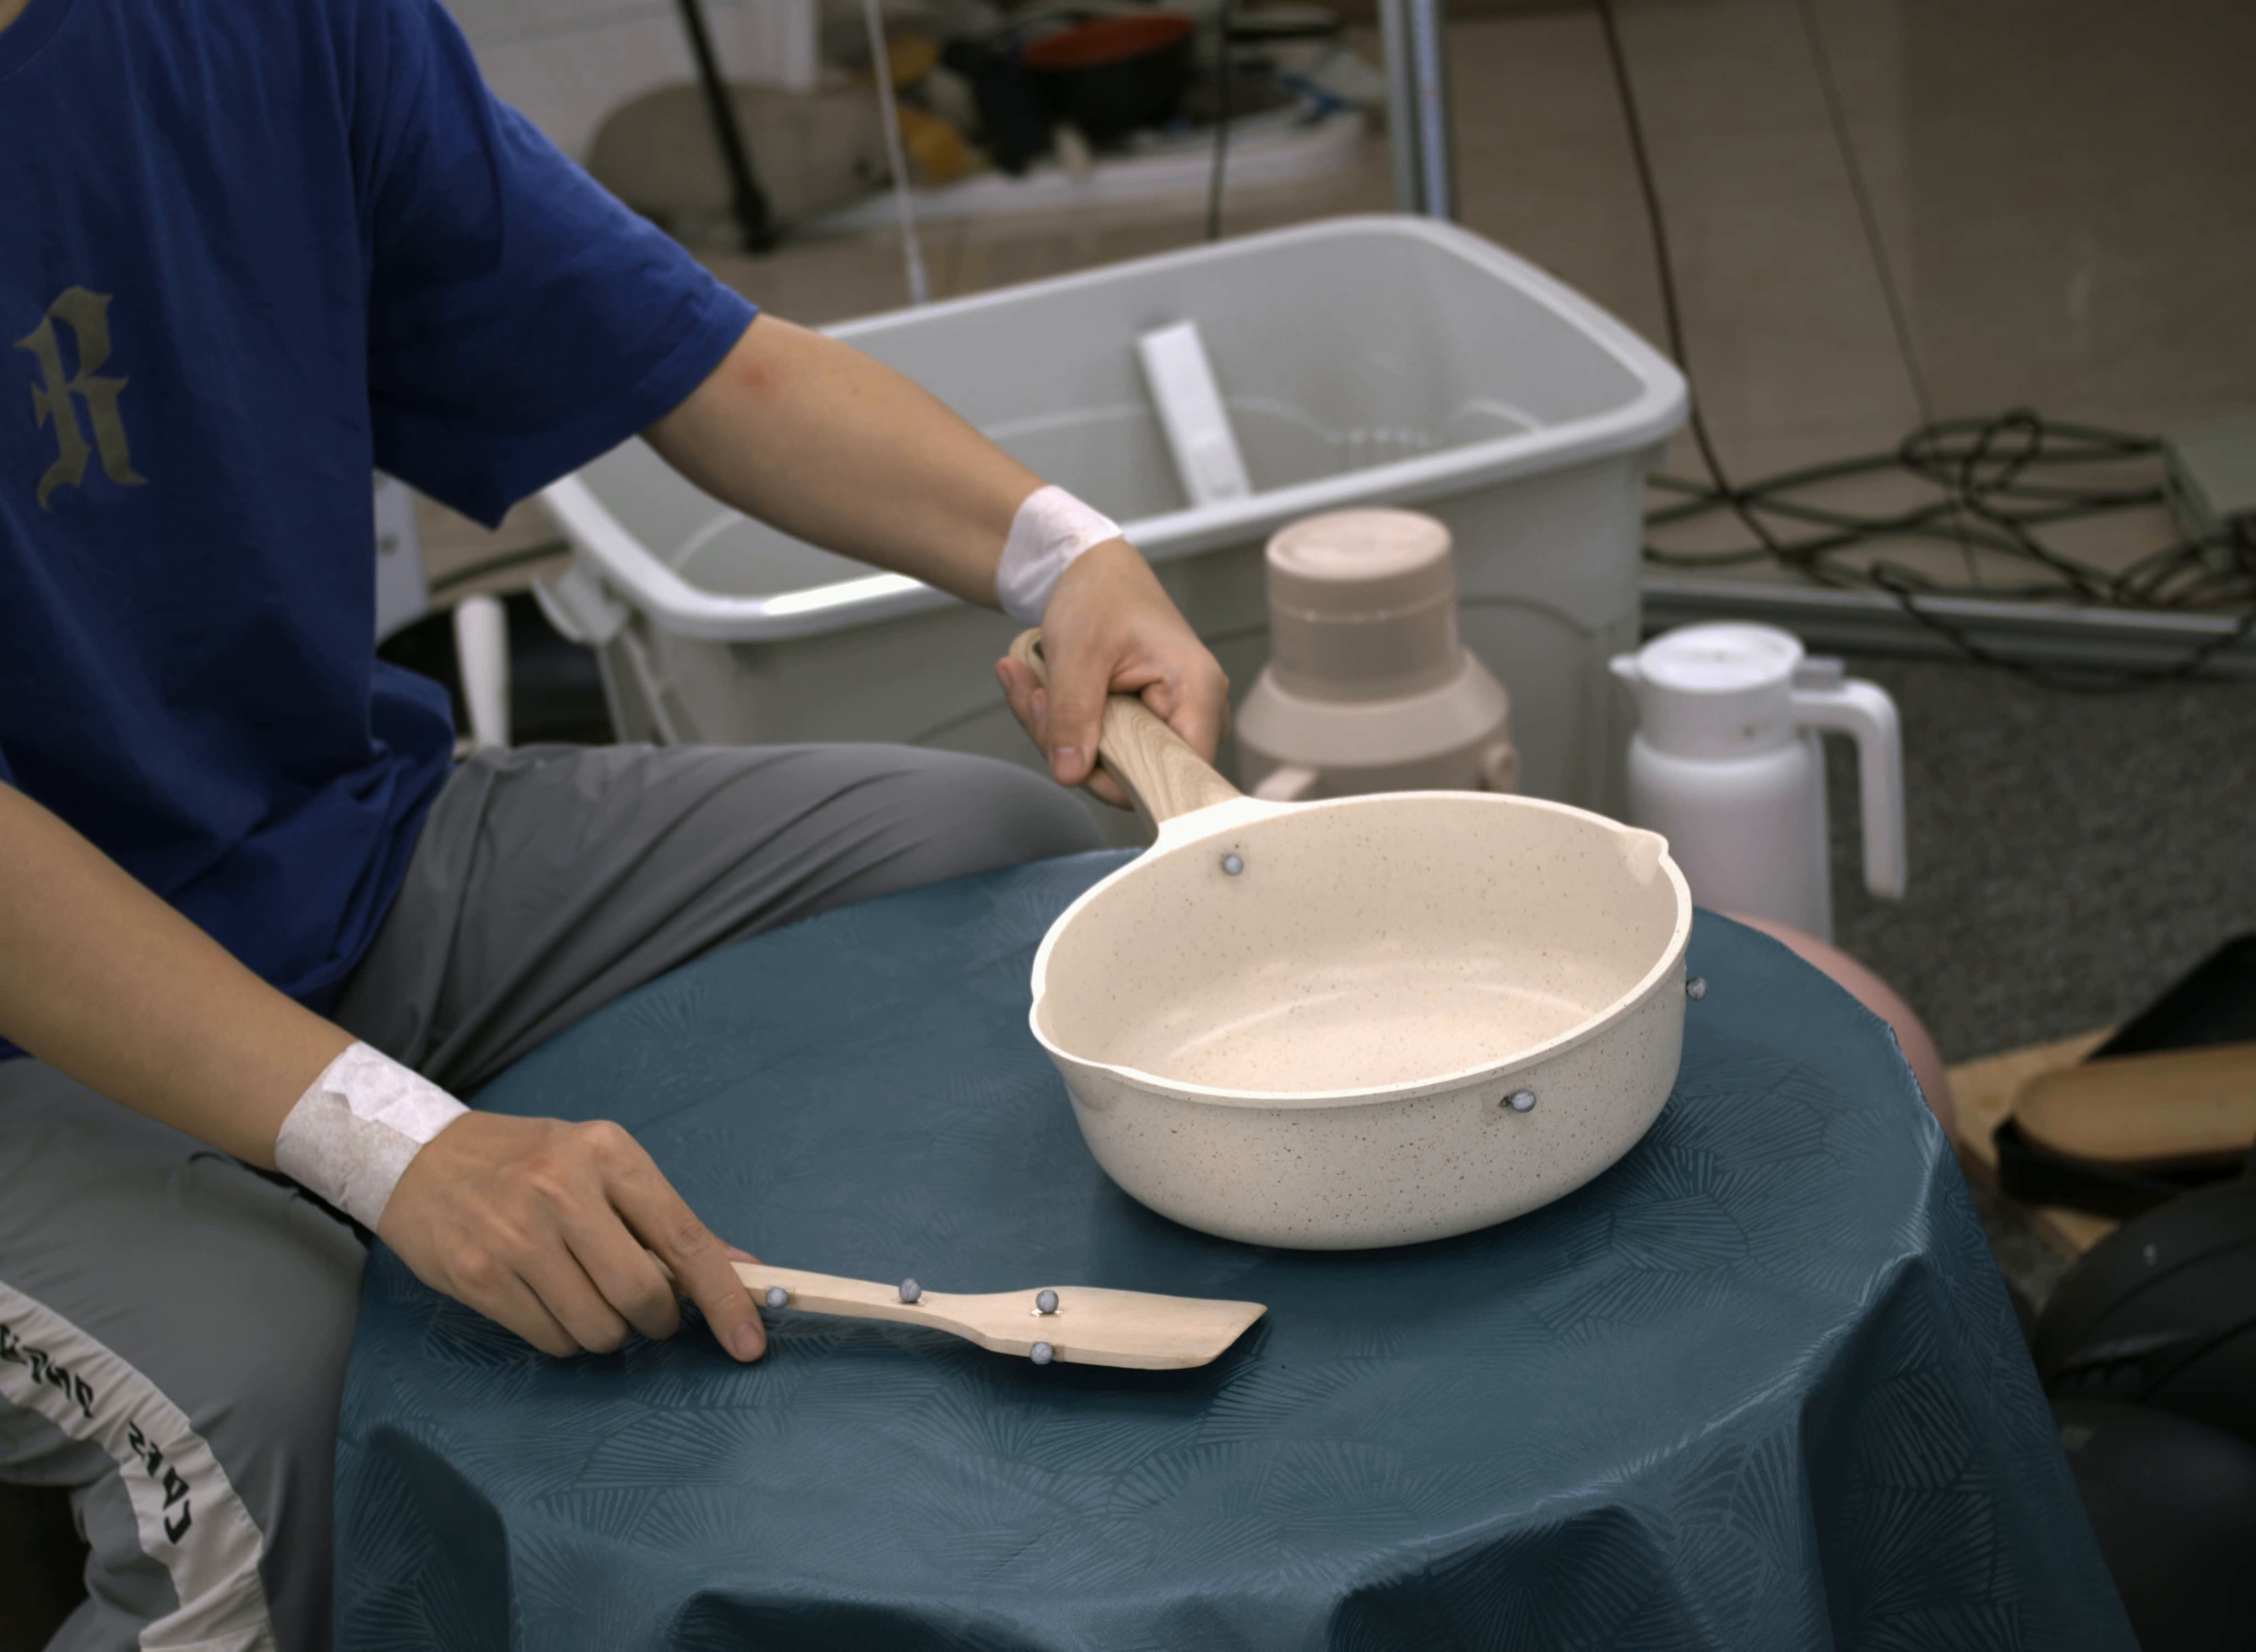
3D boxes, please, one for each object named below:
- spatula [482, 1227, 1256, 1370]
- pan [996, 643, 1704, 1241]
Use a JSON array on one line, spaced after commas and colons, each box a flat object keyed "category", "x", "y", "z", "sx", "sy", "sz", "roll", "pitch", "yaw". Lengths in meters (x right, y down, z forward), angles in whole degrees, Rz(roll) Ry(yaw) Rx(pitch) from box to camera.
[{"category": "spatula", "x": -0.101, "y": 0.170, "z": 2.066, "sx": 0.292, "sy": 0.011, "sz": 0.071, "roll": 6, "pitch": 15, "yaw": 18}, {"category": "pan", "x": 0.058, "y": 0.037, "z": 2.224, "sx": 0.262, "sy": 0.103, "sz": 0.430, "roll": -20, "pitch": 27, "yaw": -19}]
